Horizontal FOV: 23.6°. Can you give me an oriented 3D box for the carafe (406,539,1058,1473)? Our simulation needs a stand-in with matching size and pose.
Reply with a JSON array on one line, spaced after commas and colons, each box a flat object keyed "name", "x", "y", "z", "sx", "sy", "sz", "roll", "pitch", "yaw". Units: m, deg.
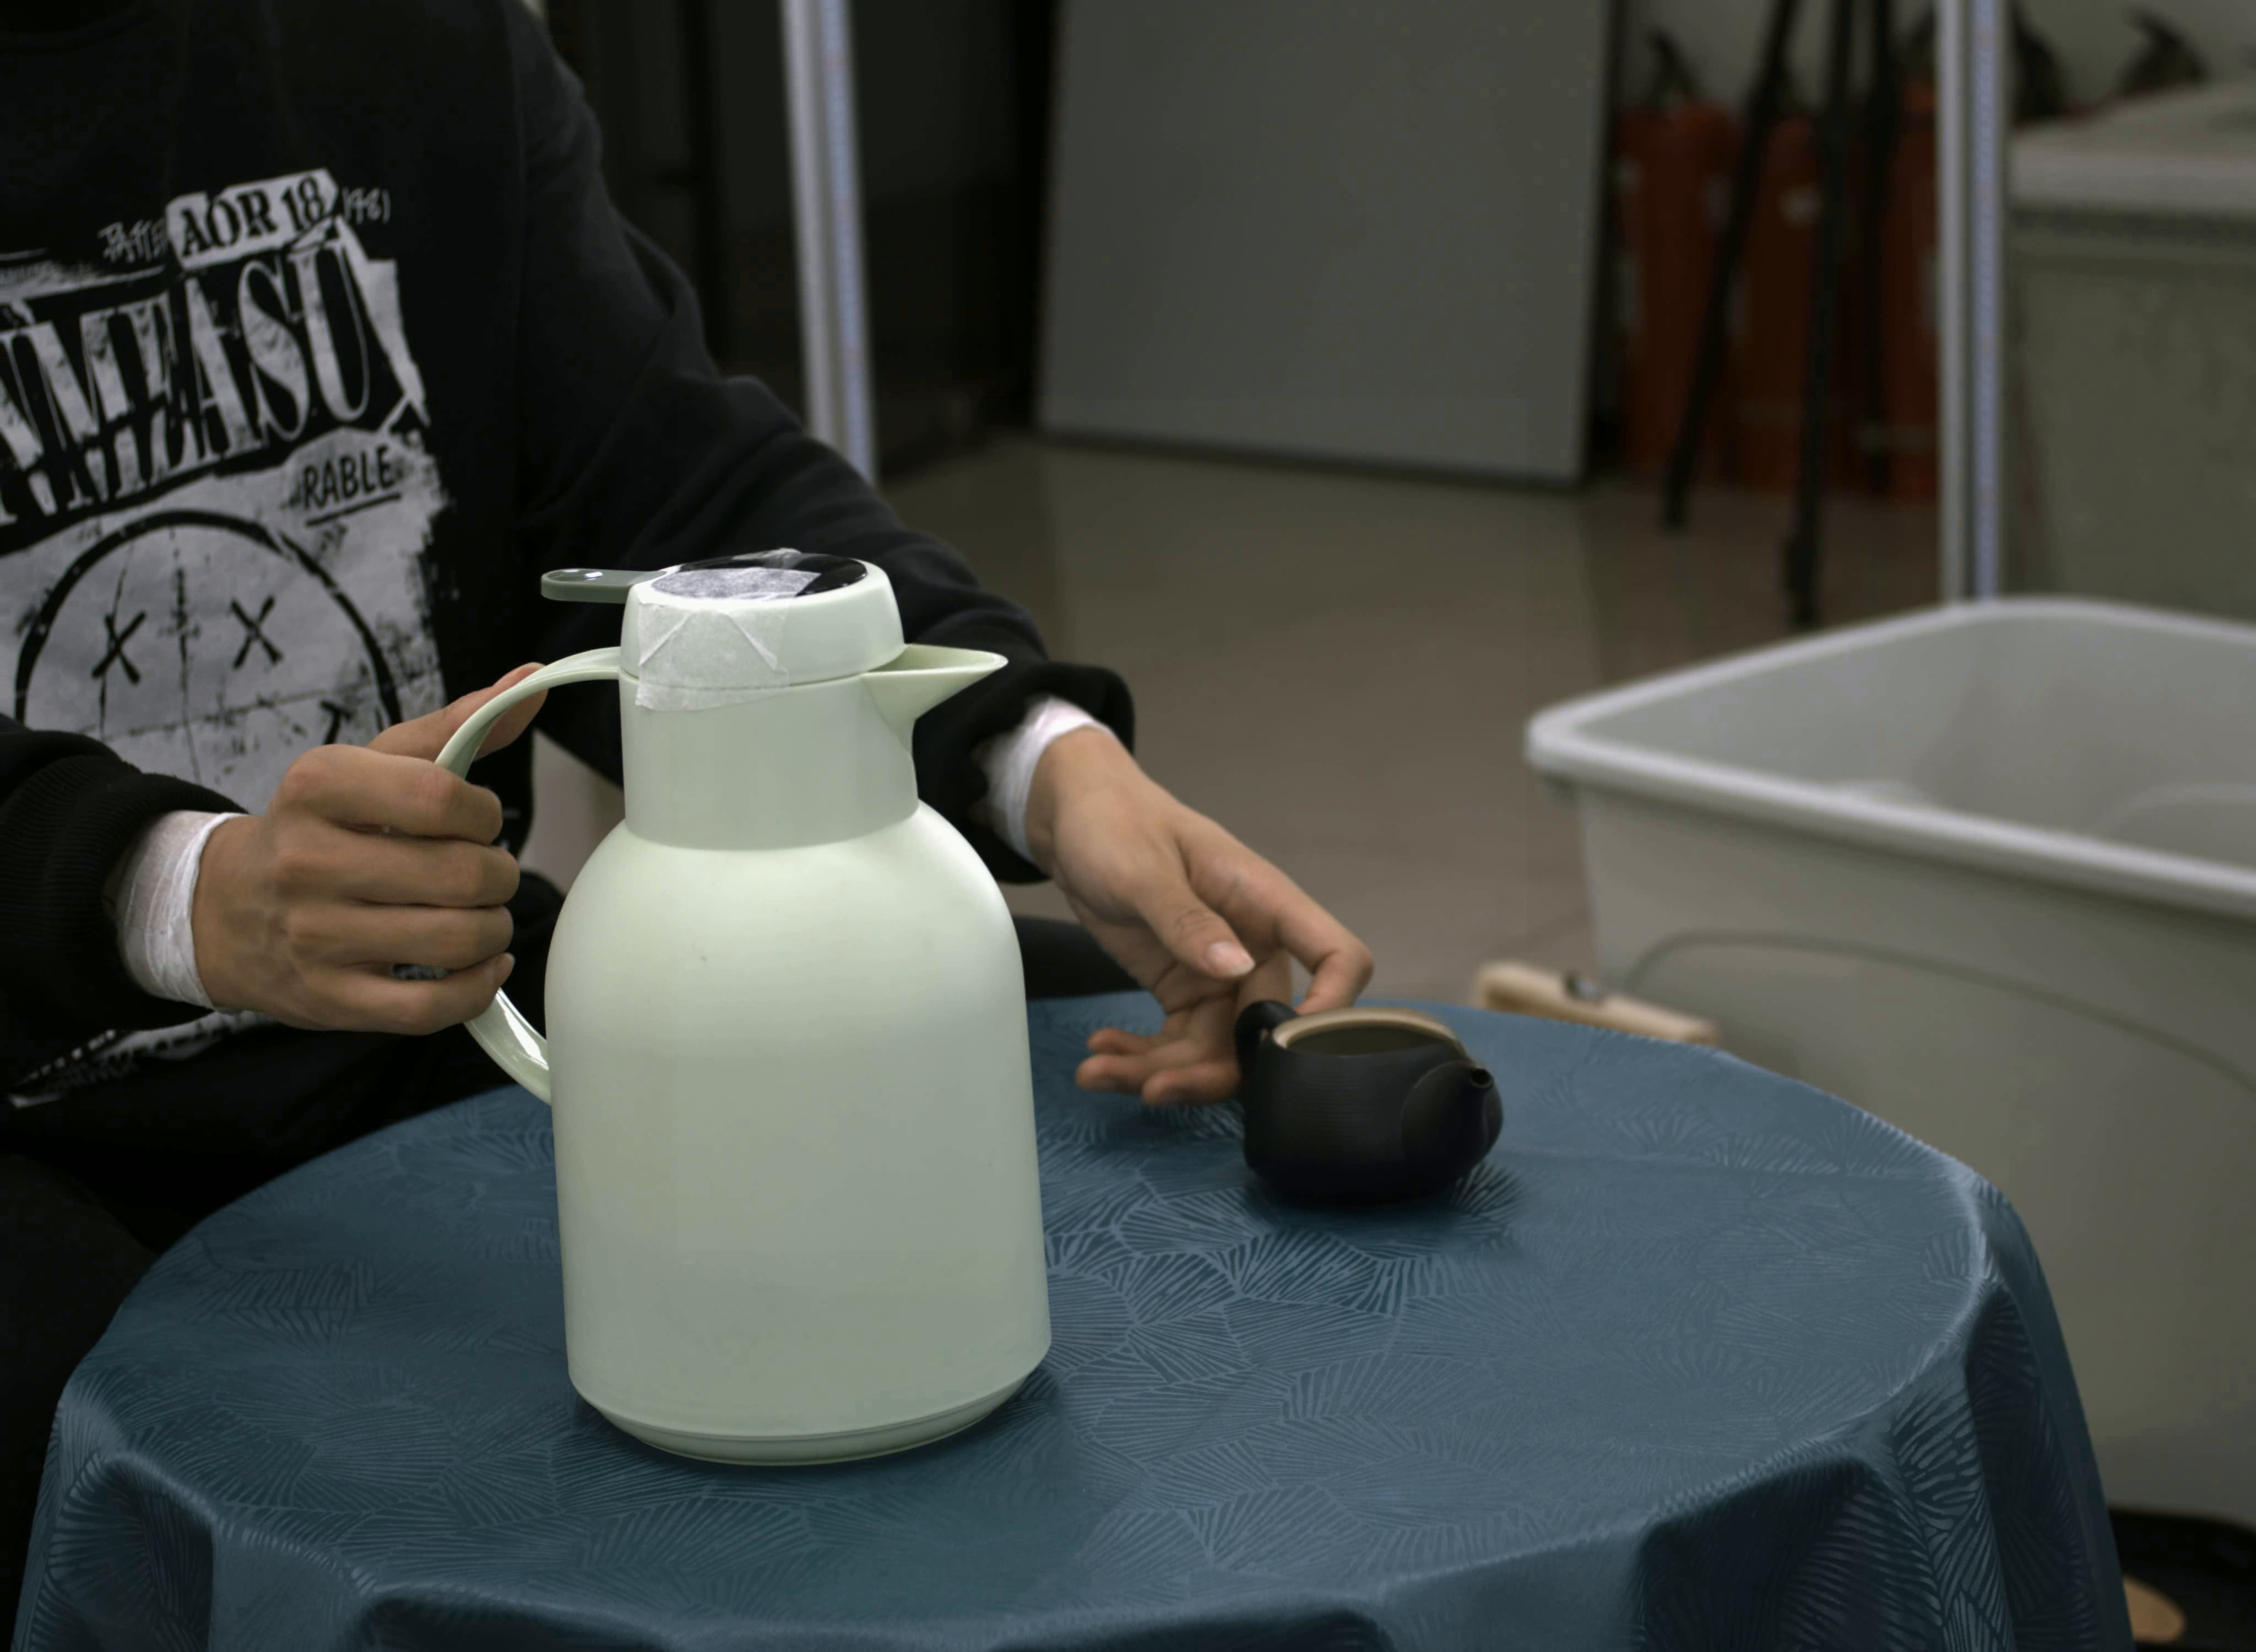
[{"name": "carafe", "x": -0.114, "y": 0.048, "z": 1.581, "sx": 0.186, "sy": 0.259, "sz": 0.143, "roll": -3, "pitch": 14, "yaw": 16}]

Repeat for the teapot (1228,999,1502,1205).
[{"name": "teapot", "x": 0.077, "y": 0.091, "z": 1.759, "sx": 0.089, "sy": 0.053, "sz": 0.134, "roll": -11, "pitch": 16, "yaw": -33}]
